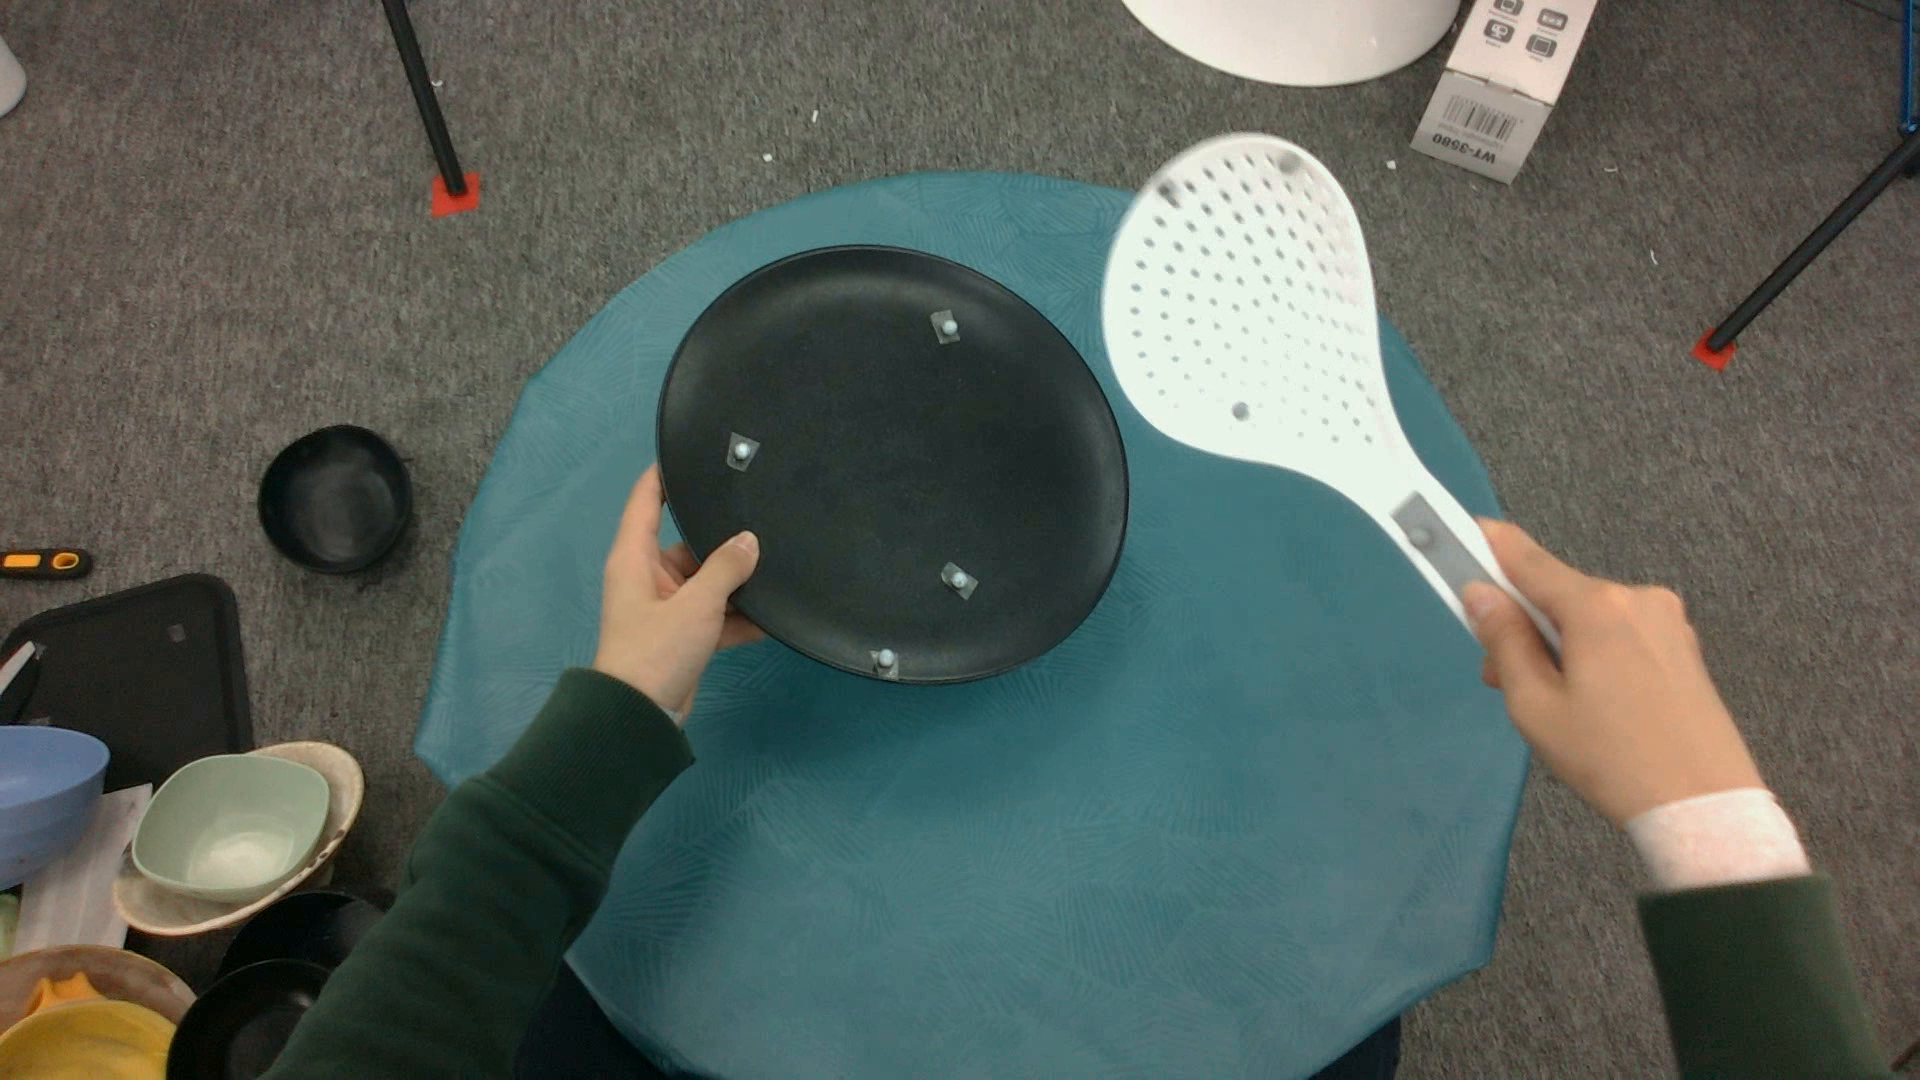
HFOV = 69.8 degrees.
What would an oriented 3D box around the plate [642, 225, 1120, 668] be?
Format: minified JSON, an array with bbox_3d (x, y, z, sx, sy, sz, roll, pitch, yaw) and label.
[{"bbox_3d":[-0.035,-0.050,0.687,0.244,0.023,0.245,8,64,-17],"label":"plate"}]

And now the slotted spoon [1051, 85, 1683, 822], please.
[{"bbox_3d":[0.152,-0.041,0.547,0.046,0.135,0.350,-7,55,-41],"label":"slotted spoon"}]
